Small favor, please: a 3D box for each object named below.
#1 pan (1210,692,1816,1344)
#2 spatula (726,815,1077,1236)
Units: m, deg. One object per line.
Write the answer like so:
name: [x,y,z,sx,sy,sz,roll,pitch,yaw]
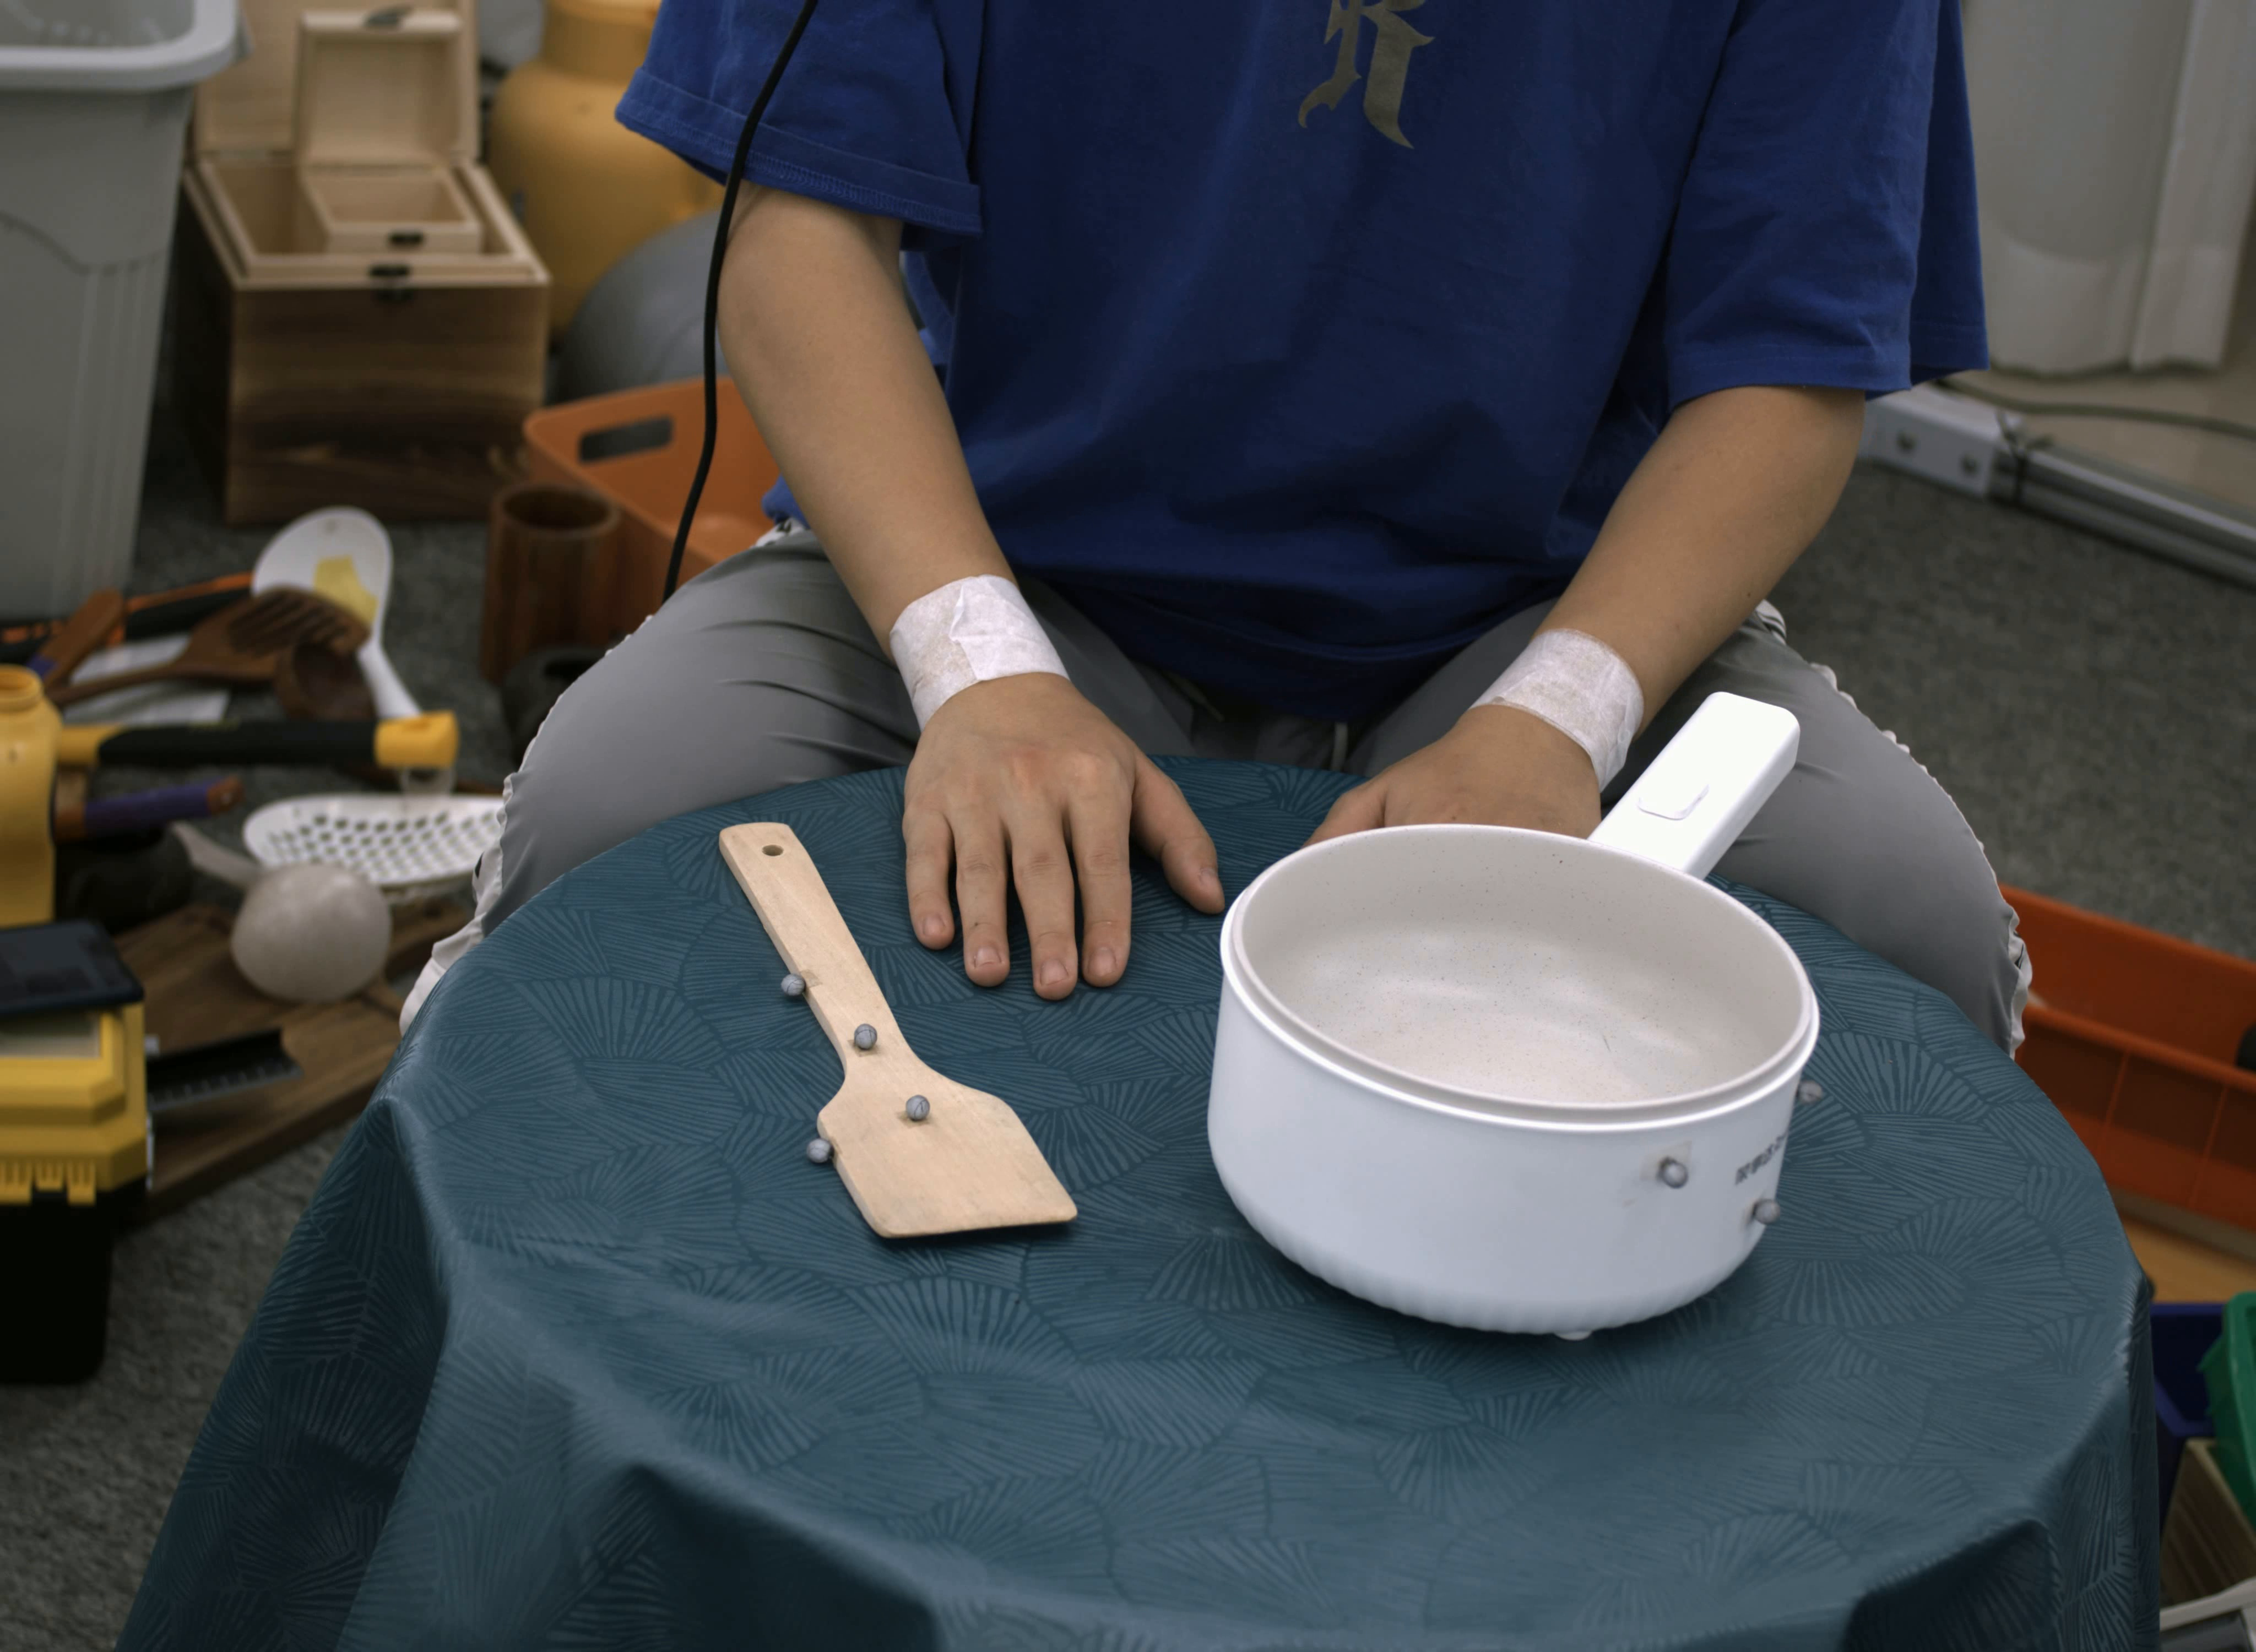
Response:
pan: [0.157,0.061,1.855,0.202,0.102,0.355,14,28,20]
spatula: [-0.095,0.067,1.884,0.072,0.010,0.295,-5,29,-19]
